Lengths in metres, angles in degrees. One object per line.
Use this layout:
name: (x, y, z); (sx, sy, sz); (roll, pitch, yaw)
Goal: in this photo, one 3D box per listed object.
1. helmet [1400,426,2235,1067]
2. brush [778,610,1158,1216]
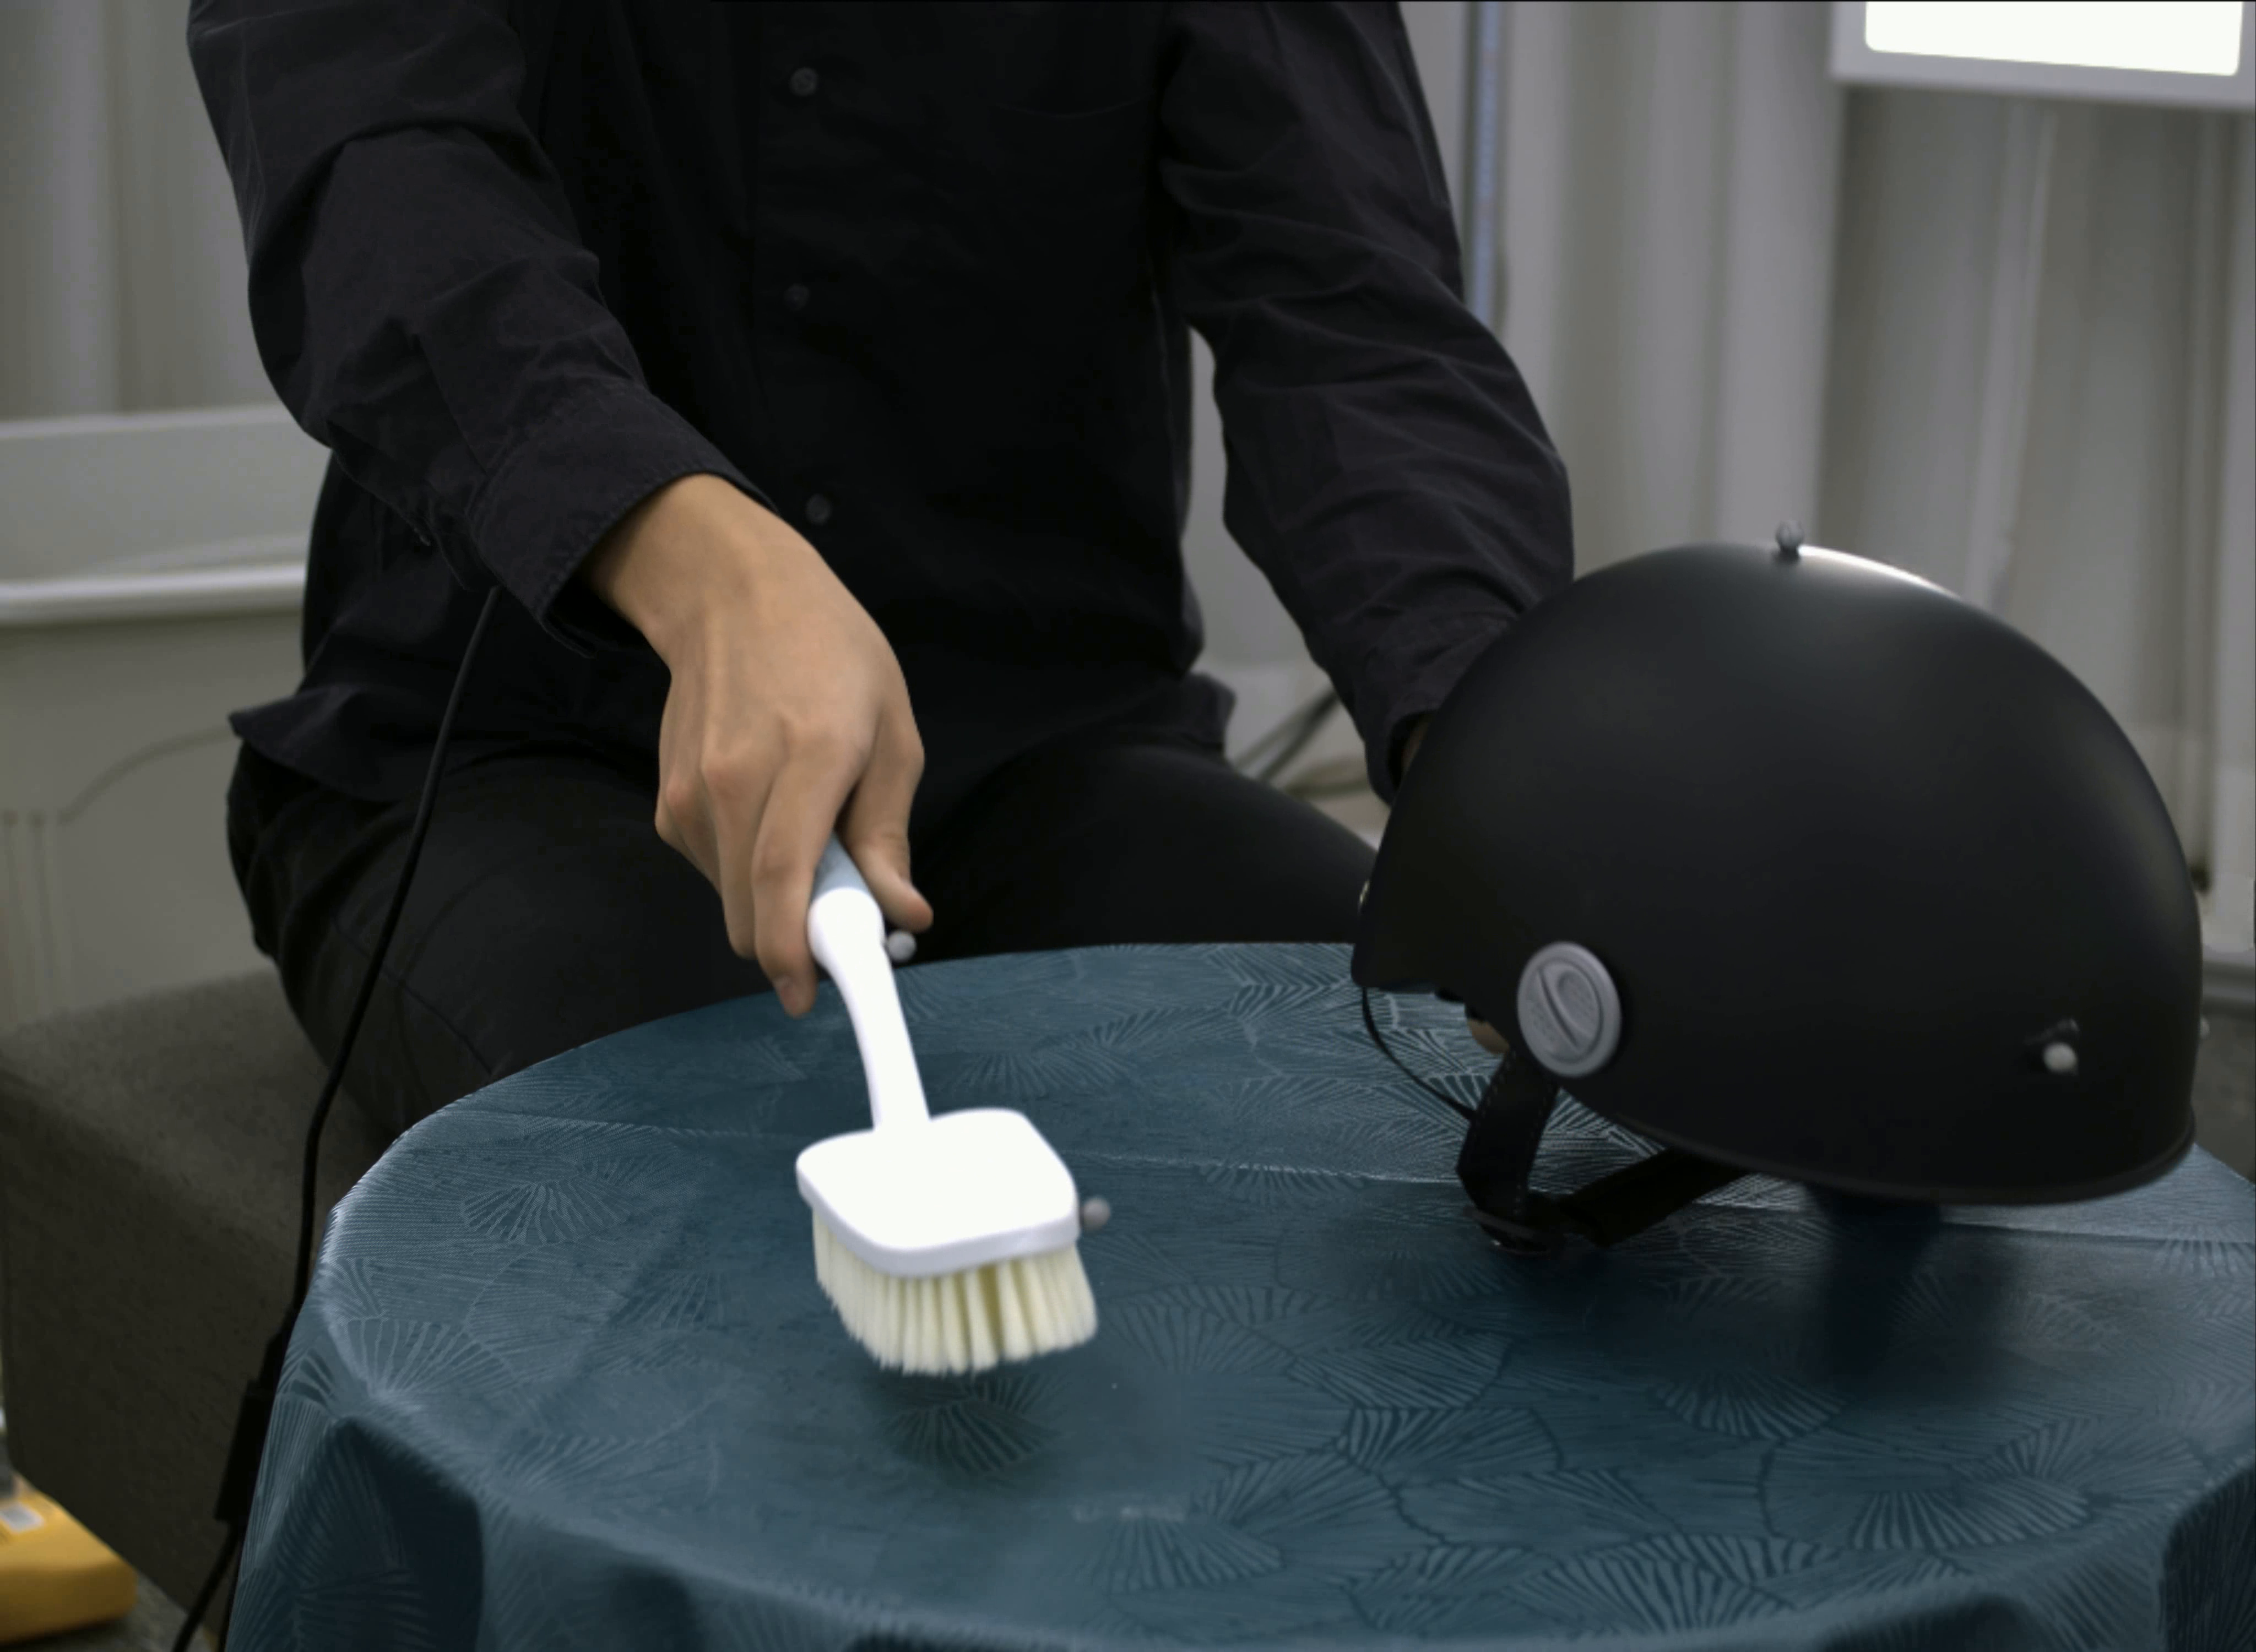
helmet: (0.213, -0.032, 1.581); (0.231, 0.168, 0.269); (-4, 16, -29)
brush: (-0.052, 0.036, 1.554); (0.084, 0.085, 0.321); (25, 15, -26)
